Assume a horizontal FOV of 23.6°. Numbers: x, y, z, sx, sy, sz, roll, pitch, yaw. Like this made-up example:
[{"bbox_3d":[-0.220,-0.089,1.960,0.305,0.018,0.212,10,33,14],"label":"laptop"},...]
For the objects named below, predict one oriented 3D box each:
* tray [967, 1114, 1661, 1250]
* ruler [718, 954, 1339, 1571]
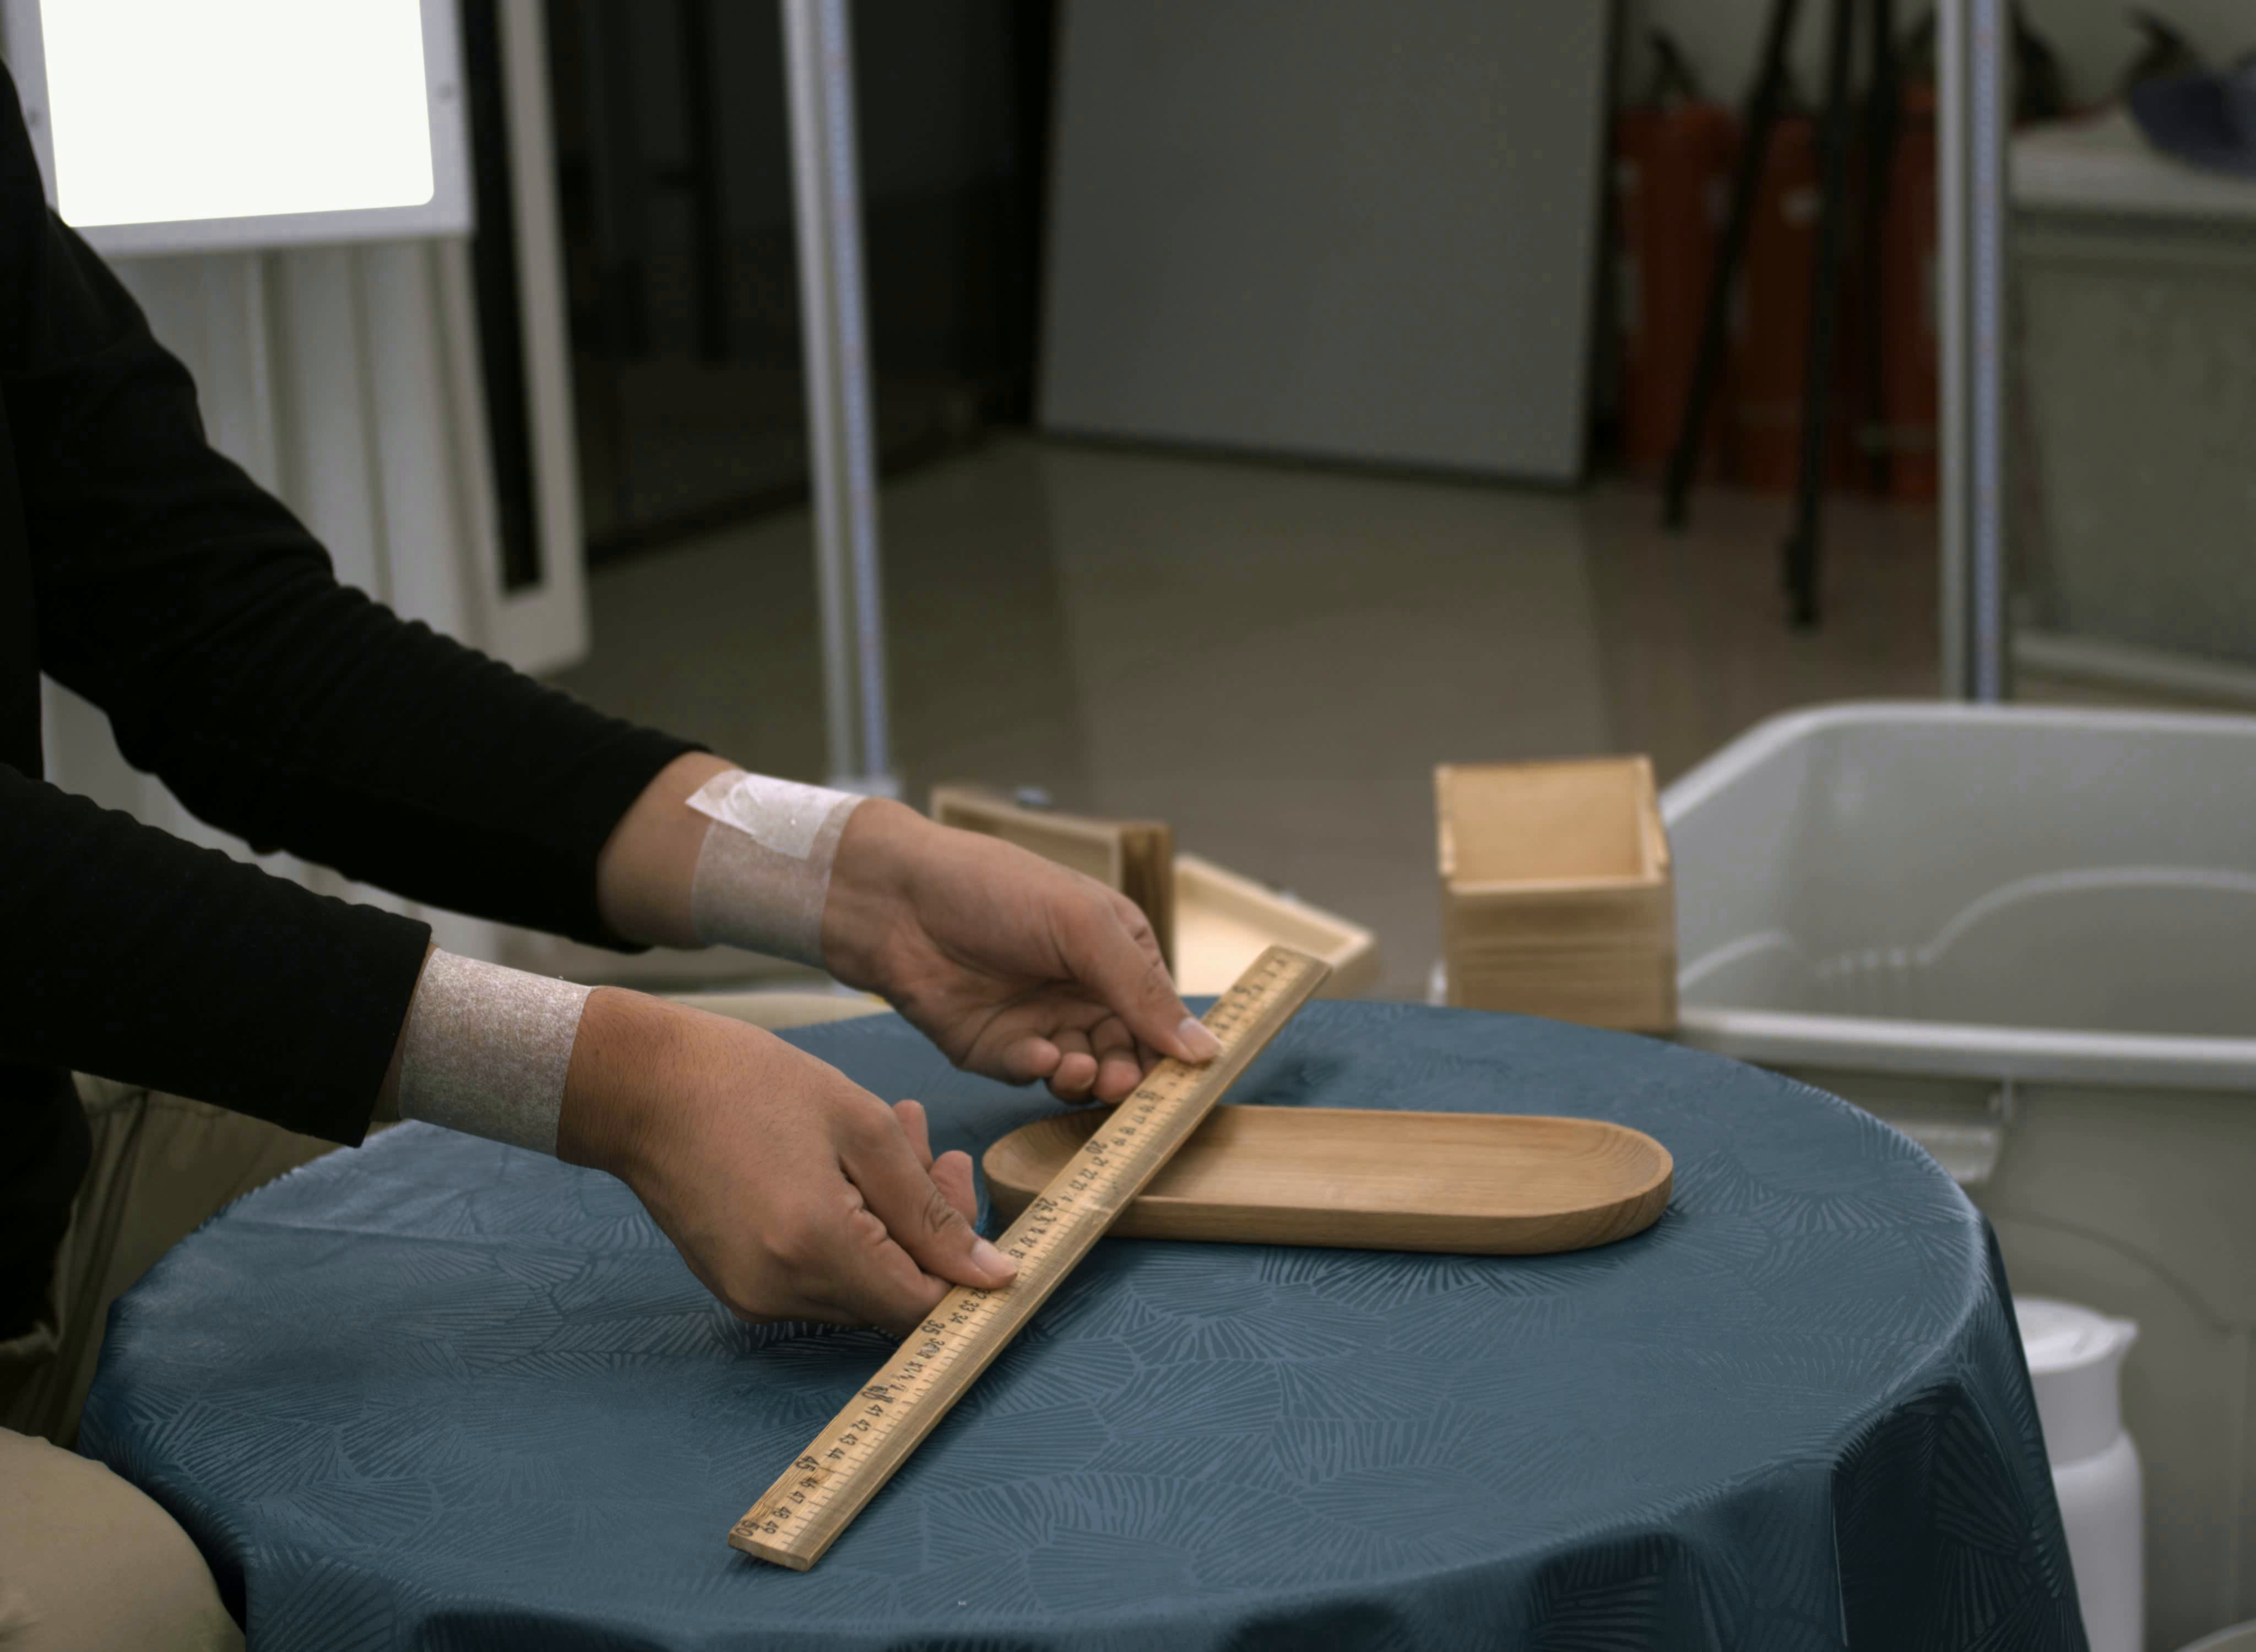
[{"bbox_3d":[0.059,0.115,1.742,0.230,0.020,0.101,-2,12,18],"label":"tray"},{"bbox_3d":[-0.019,0.123,1.688,0.027,0.006,0.496,14,22,16],"label":"ruler"}]
